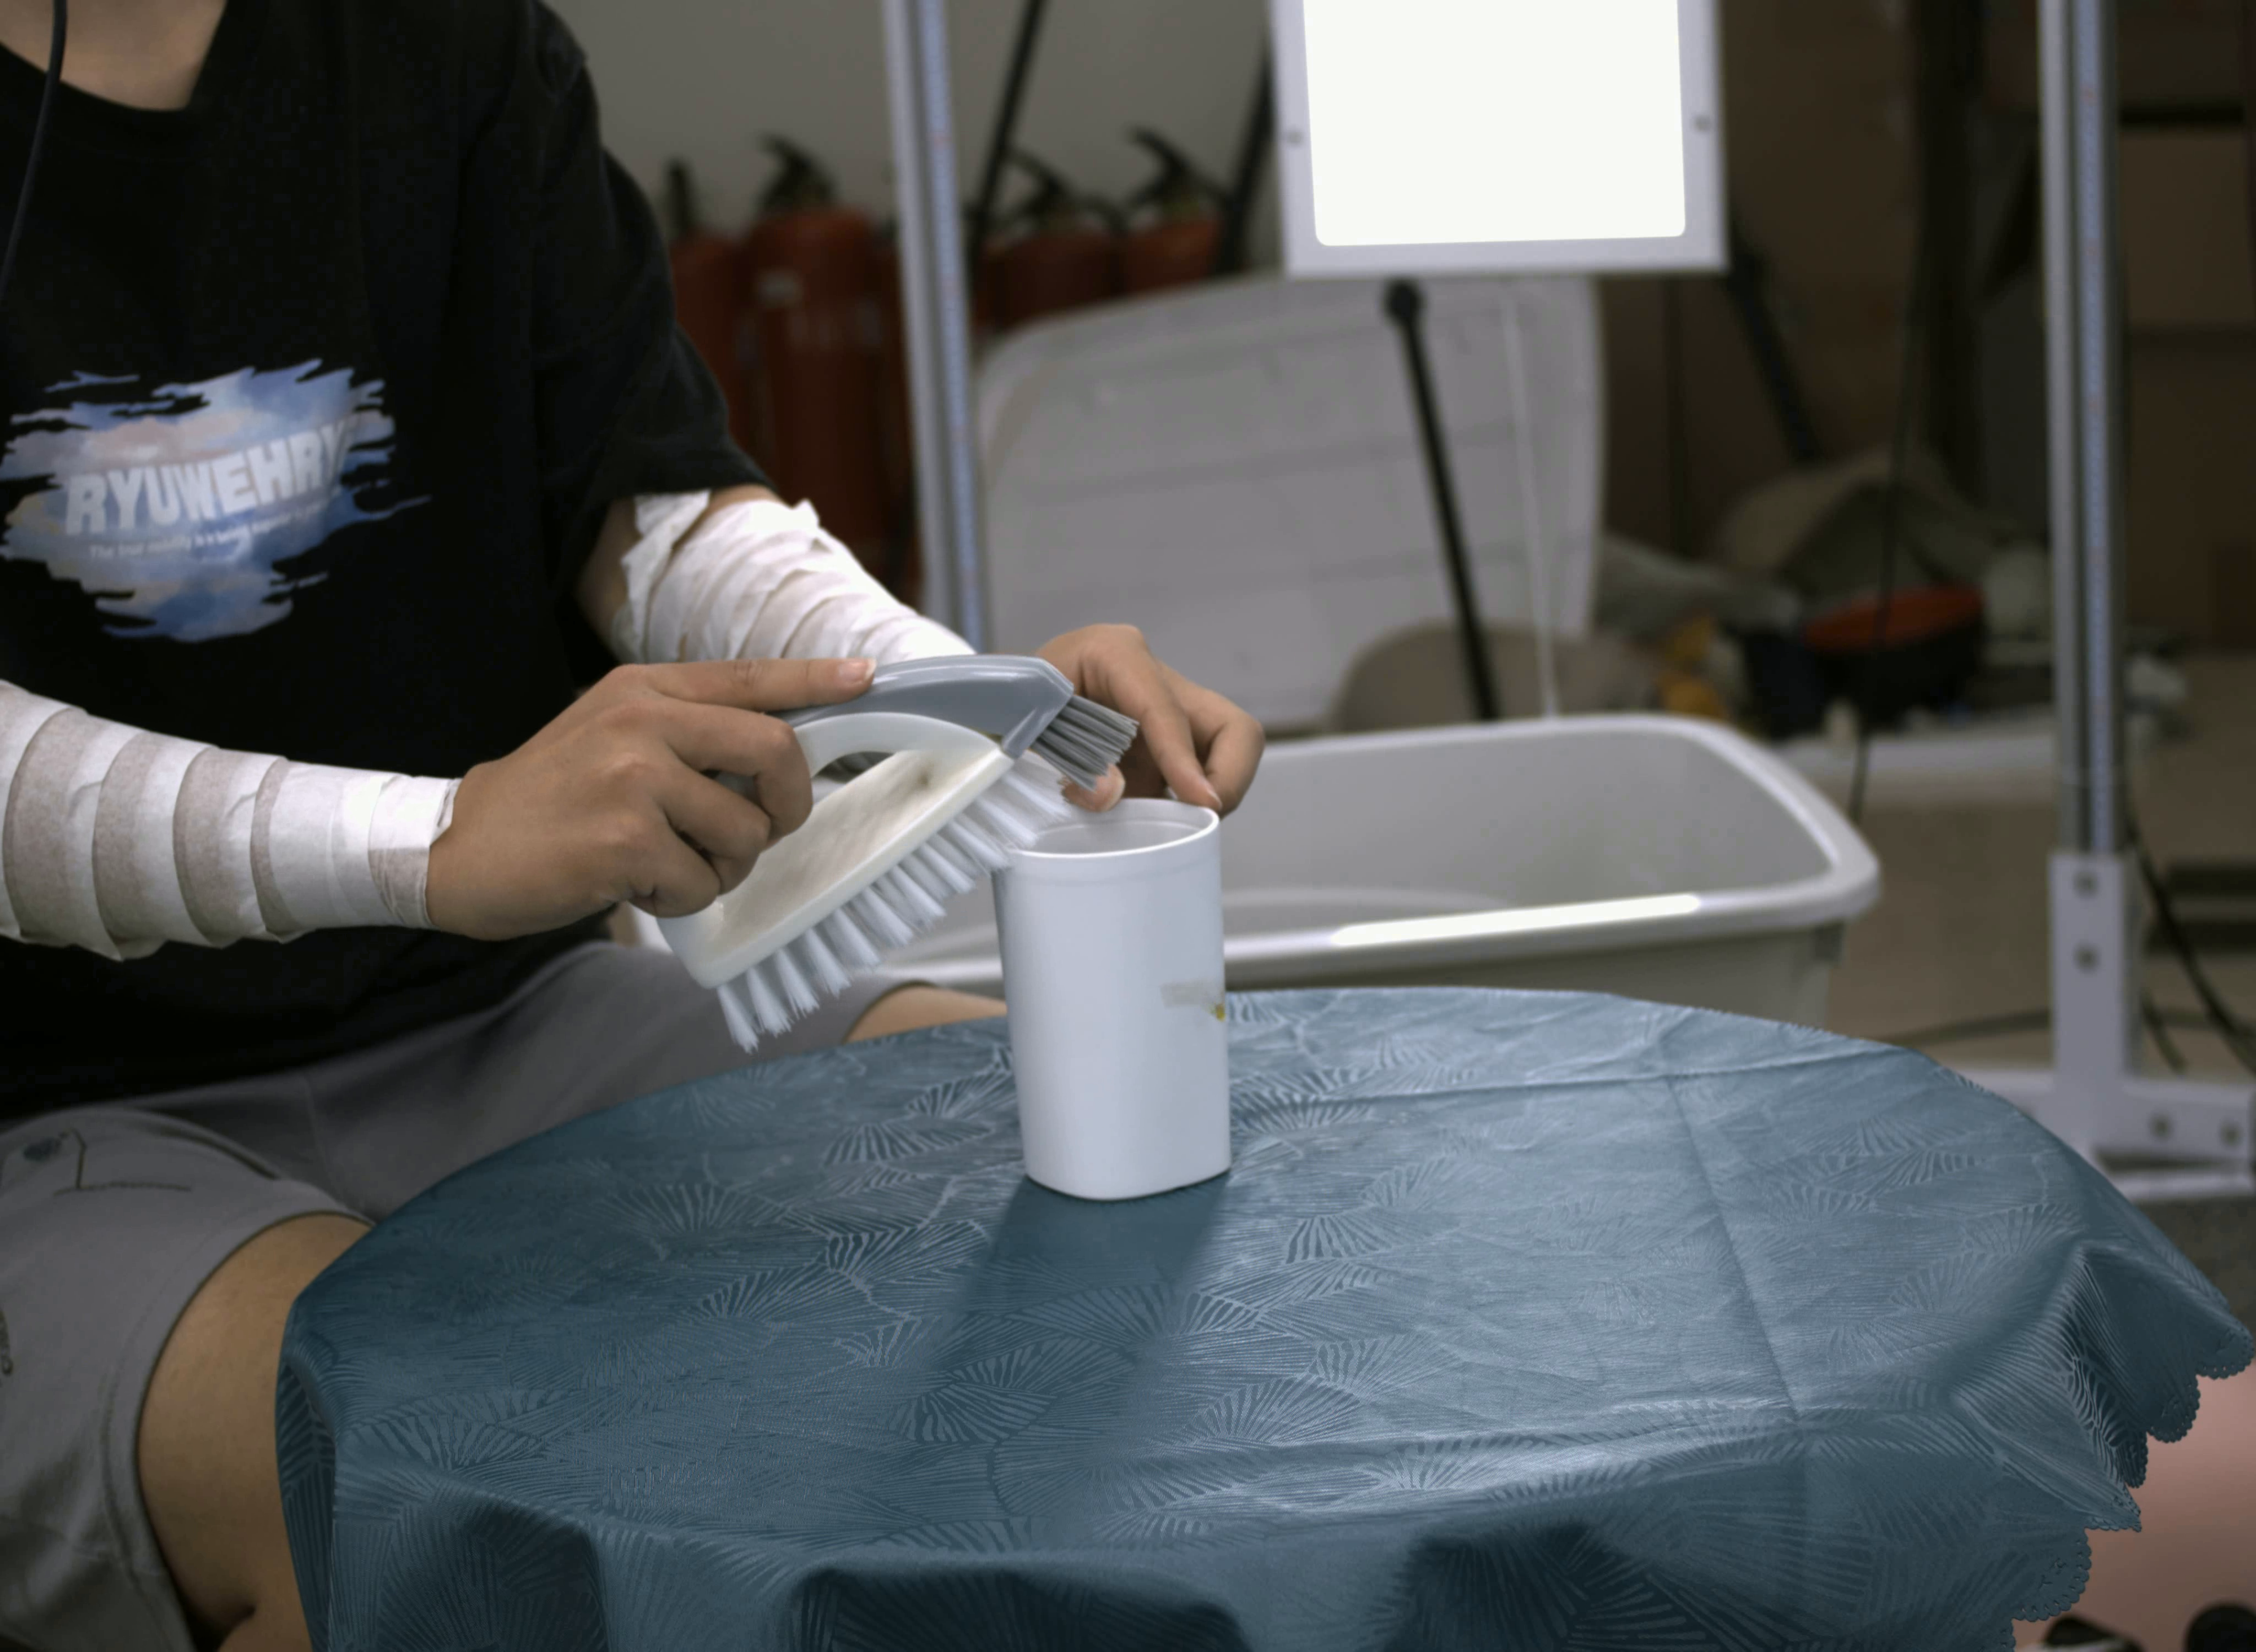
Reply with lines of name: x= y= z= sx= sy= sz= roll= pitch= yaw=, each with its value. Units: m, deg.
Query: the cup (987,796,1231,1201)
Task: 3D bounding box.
cup: x=-0.004 y=0.060 z=1.910 sx=0.081 sy=0.126 sz=0.081 roll=-5 pitch=15 yaw=0

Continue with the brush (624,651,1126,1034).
brush: x=-0.094 y=-0.012 z=1.885 sx=0.177 sy=0.093 sz=0.061 roll=-33 pitch=31 yaw=13
